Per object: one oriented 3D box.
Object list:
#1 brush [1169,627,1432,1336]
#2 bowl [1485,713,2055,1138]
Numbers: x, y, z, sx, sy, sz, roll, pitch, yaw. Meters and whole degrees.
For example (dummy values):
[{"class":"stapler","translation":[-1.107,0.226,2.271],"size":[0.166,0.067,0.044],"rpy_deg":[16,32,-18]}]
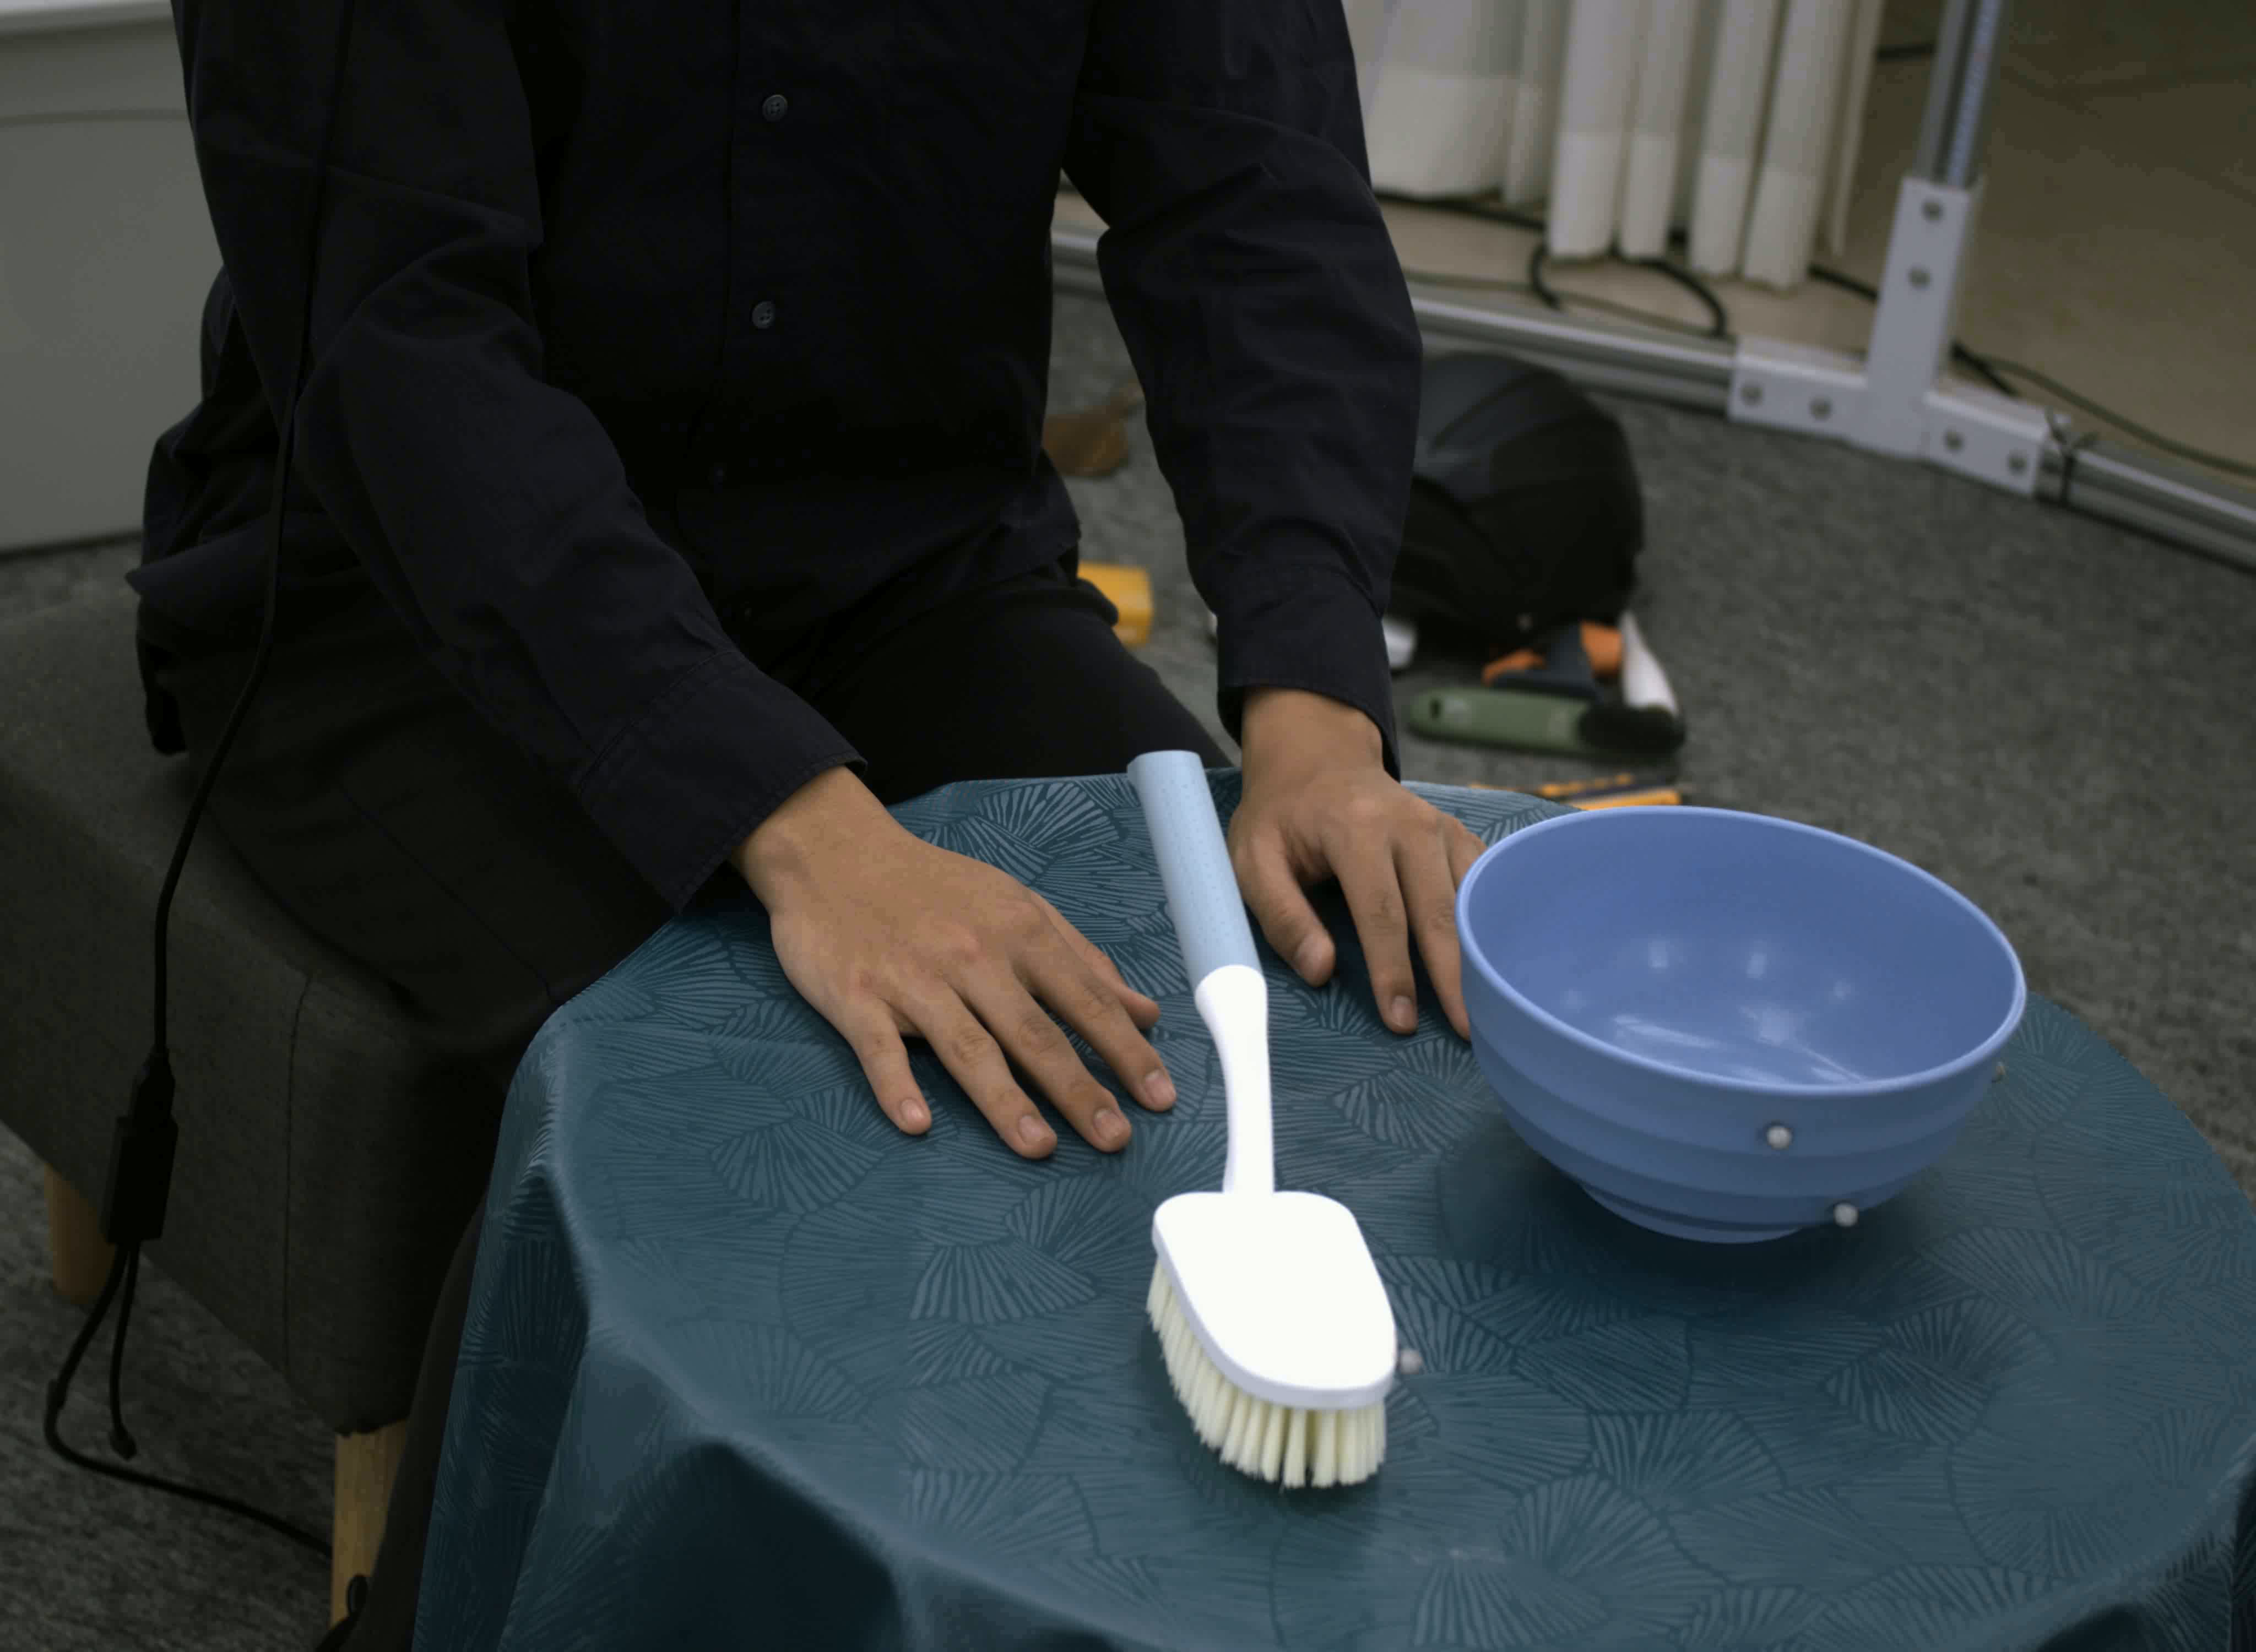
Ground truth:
[{"class":"brush","translation":[0.050,0.060,1.792],"size":[0.082,0.084,0.328],"rpy_deg":[34,25,-33]},{"class":"bowl","translation":[0.217,0.045,1.851],"size":[0.196,0.095,0.197],"rpy_deg":[4,27,-2]}]
